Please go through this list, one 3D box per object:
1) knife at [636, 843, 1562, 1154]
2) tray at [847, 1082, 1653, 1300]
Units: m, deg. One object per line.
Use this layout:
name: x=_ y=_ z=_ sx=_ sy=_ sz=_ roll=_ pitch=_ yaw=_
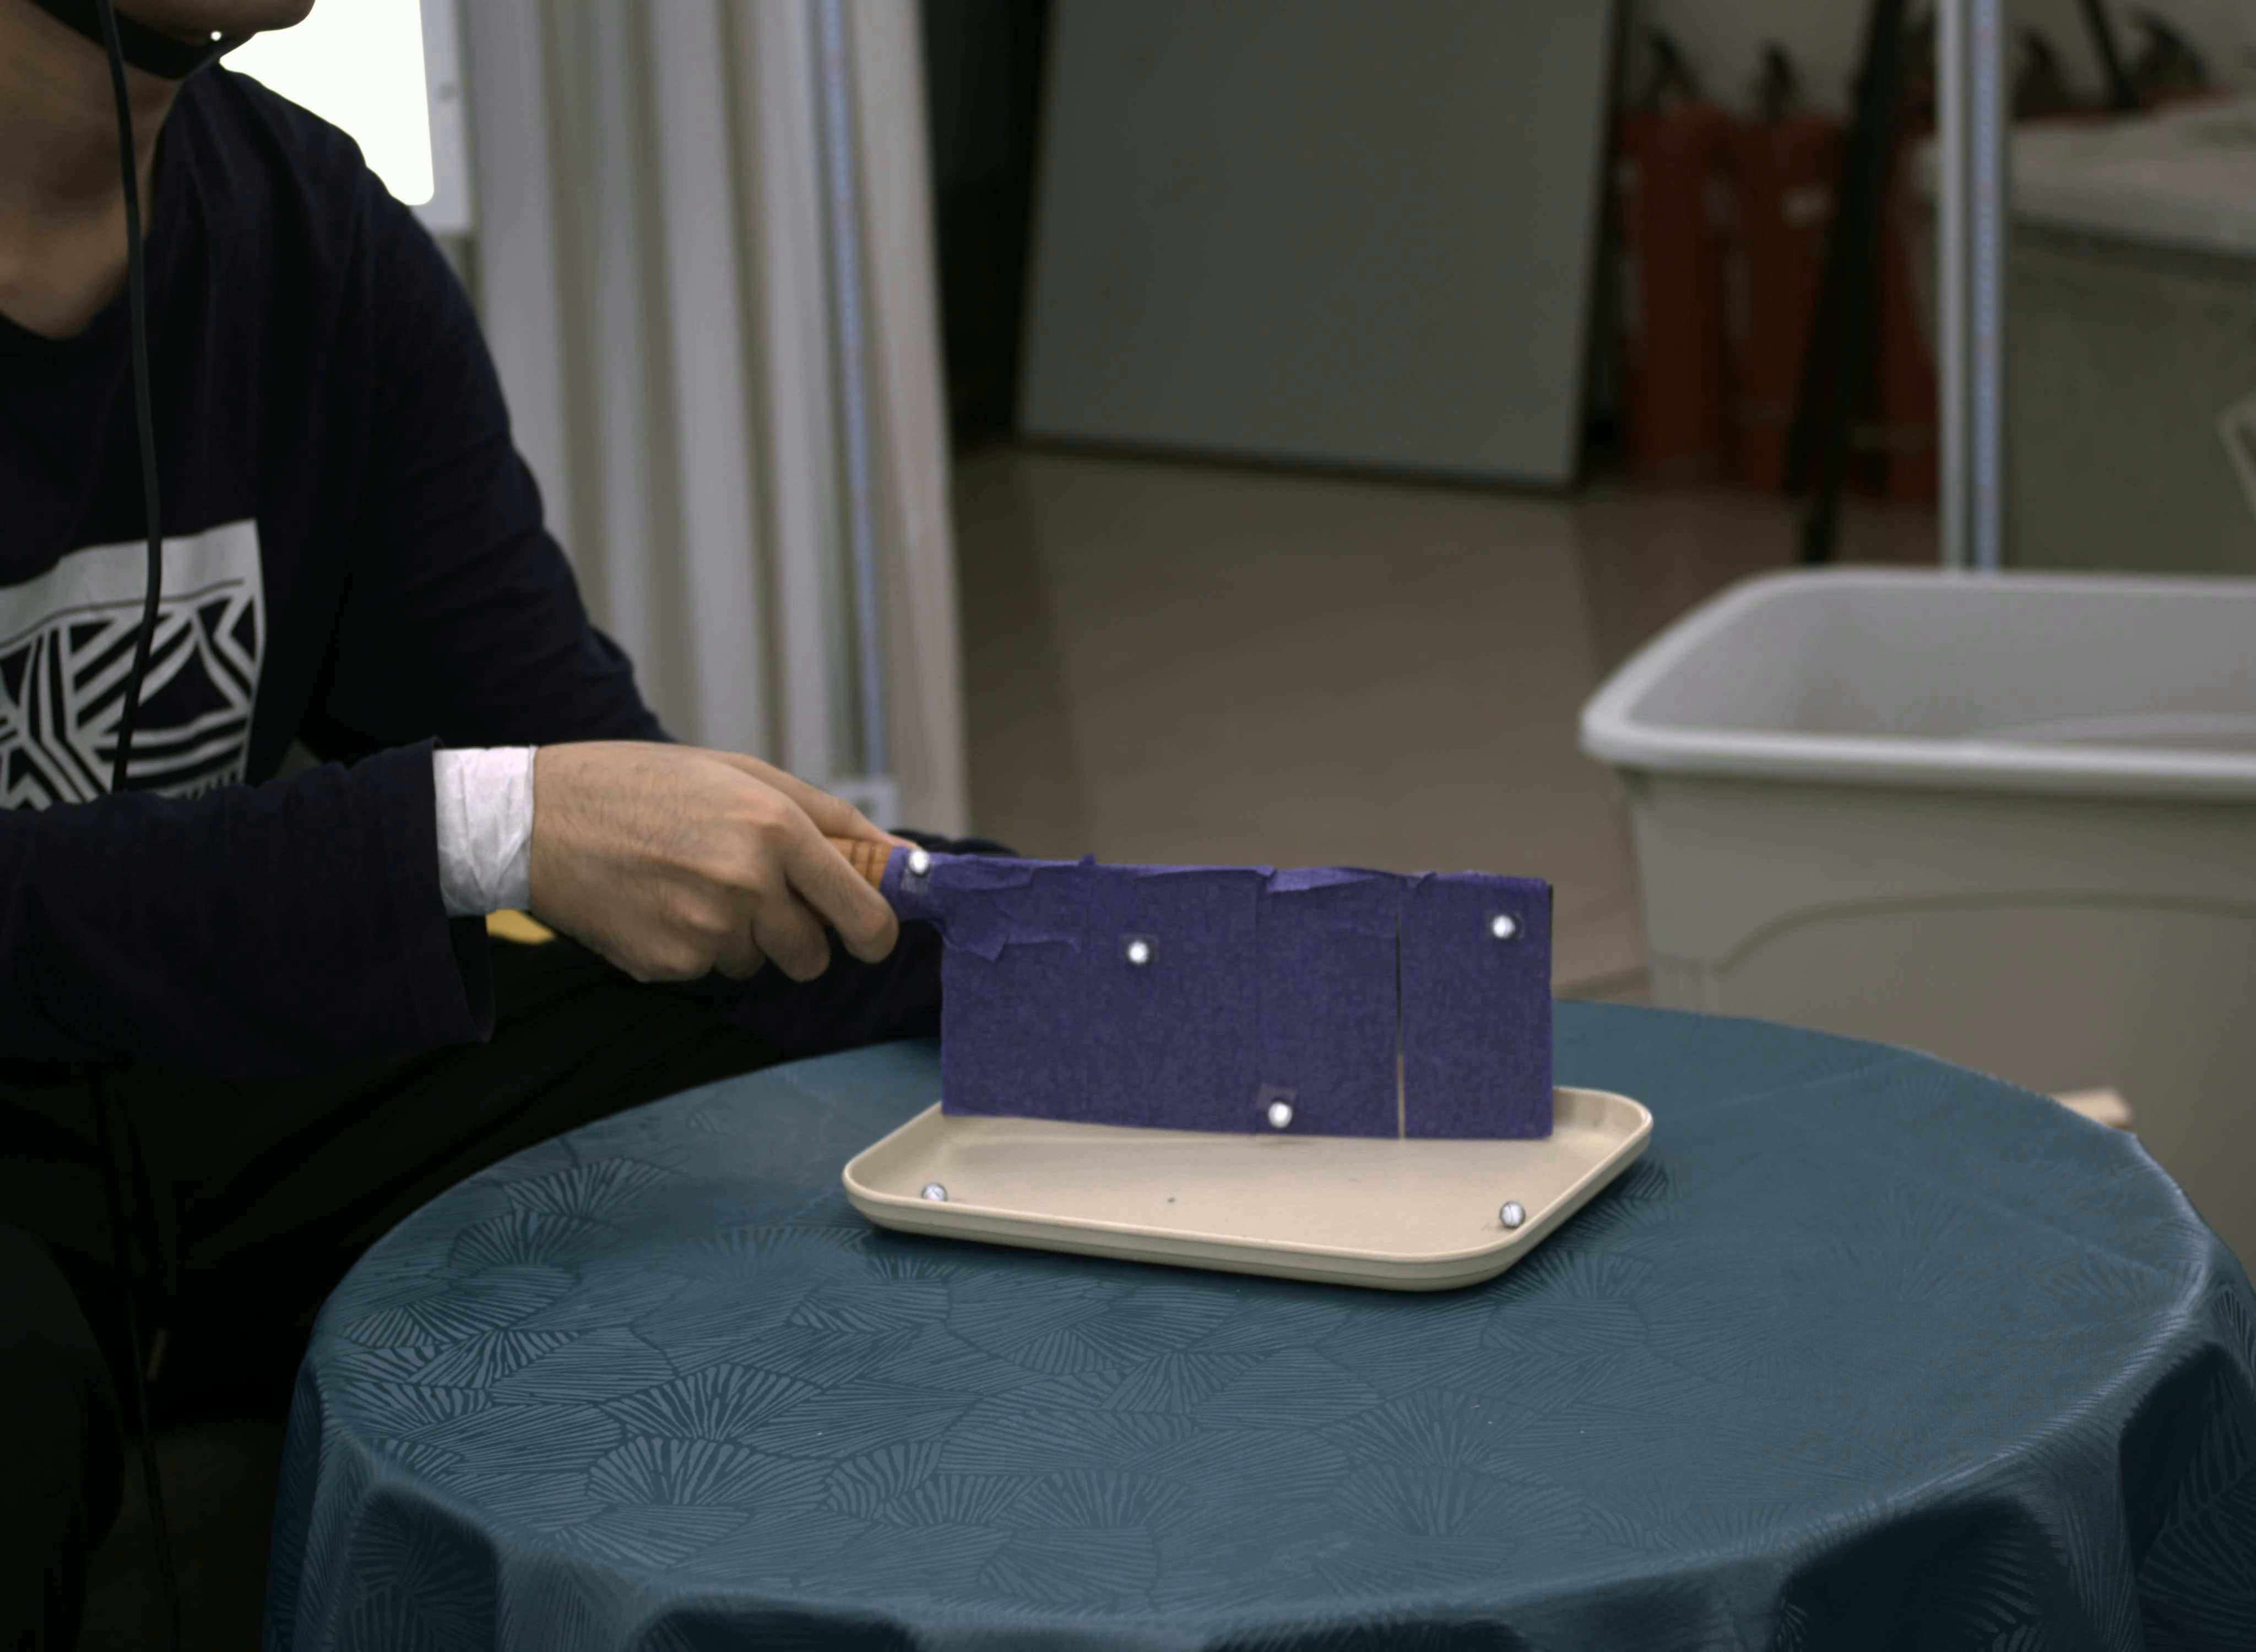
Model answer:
knife: x=-0.011 y=0.056 z=1.796 sx=0.313 sy=0.105 sz=0.032 roll=1 pitch=7 yaw=13
tray: x=0.041 y=0.112 z=1.757 sx=0.240 sy=0.017 sz=0.169 roll=4 pitch=18 yaw=28
